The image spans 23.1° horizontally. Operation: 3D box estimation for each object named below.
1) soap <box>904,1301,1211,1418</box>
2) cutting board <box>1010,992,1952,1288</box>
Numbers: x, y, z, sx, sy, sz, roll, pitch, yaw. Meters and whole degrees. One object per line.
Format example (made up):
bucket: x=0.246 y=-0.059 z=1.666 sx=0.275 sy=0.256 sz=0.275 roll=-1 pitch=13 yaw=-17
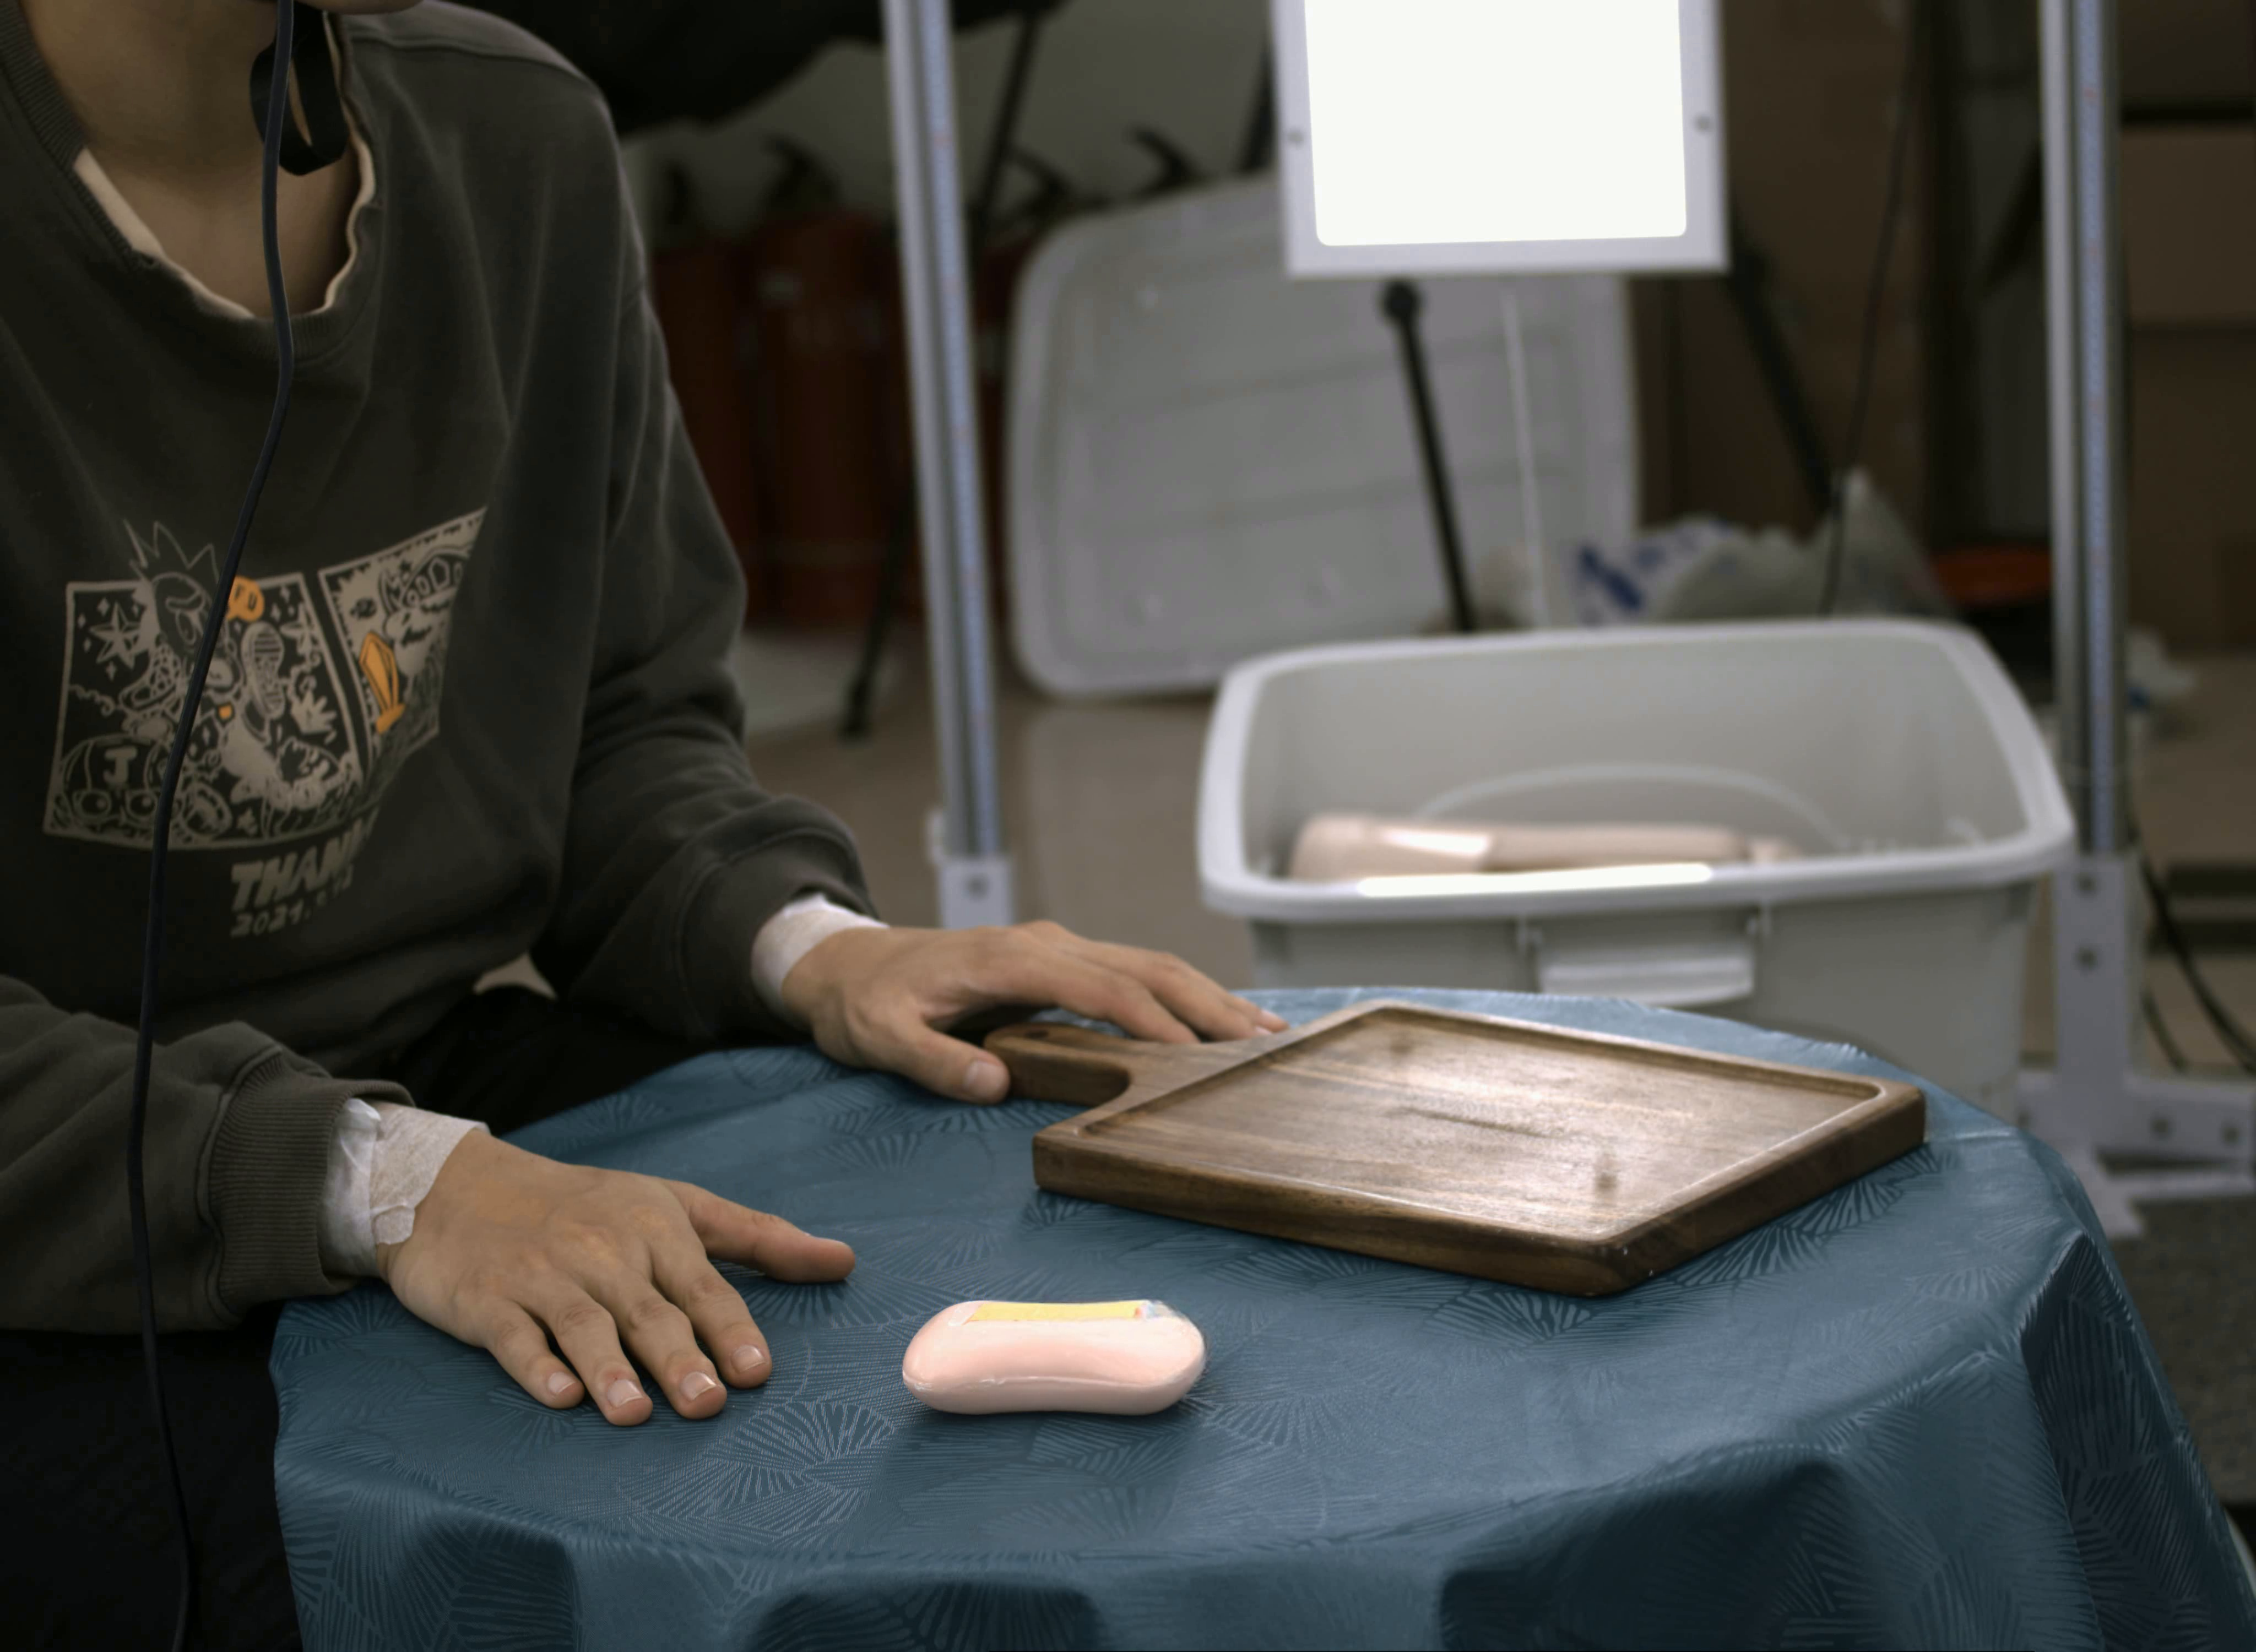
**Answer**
soap: x=-0.021 y=0.164 z=1.694 sx=0.095 sy=0.030 sz=0.049 roll=-3 pitch=13 yaw=16
cutting board: x=0.094 y=0.099 z=1.930 sx=0.360 sy=0.023 sz=0.196 roll=8 pitch=19 yaw=43
